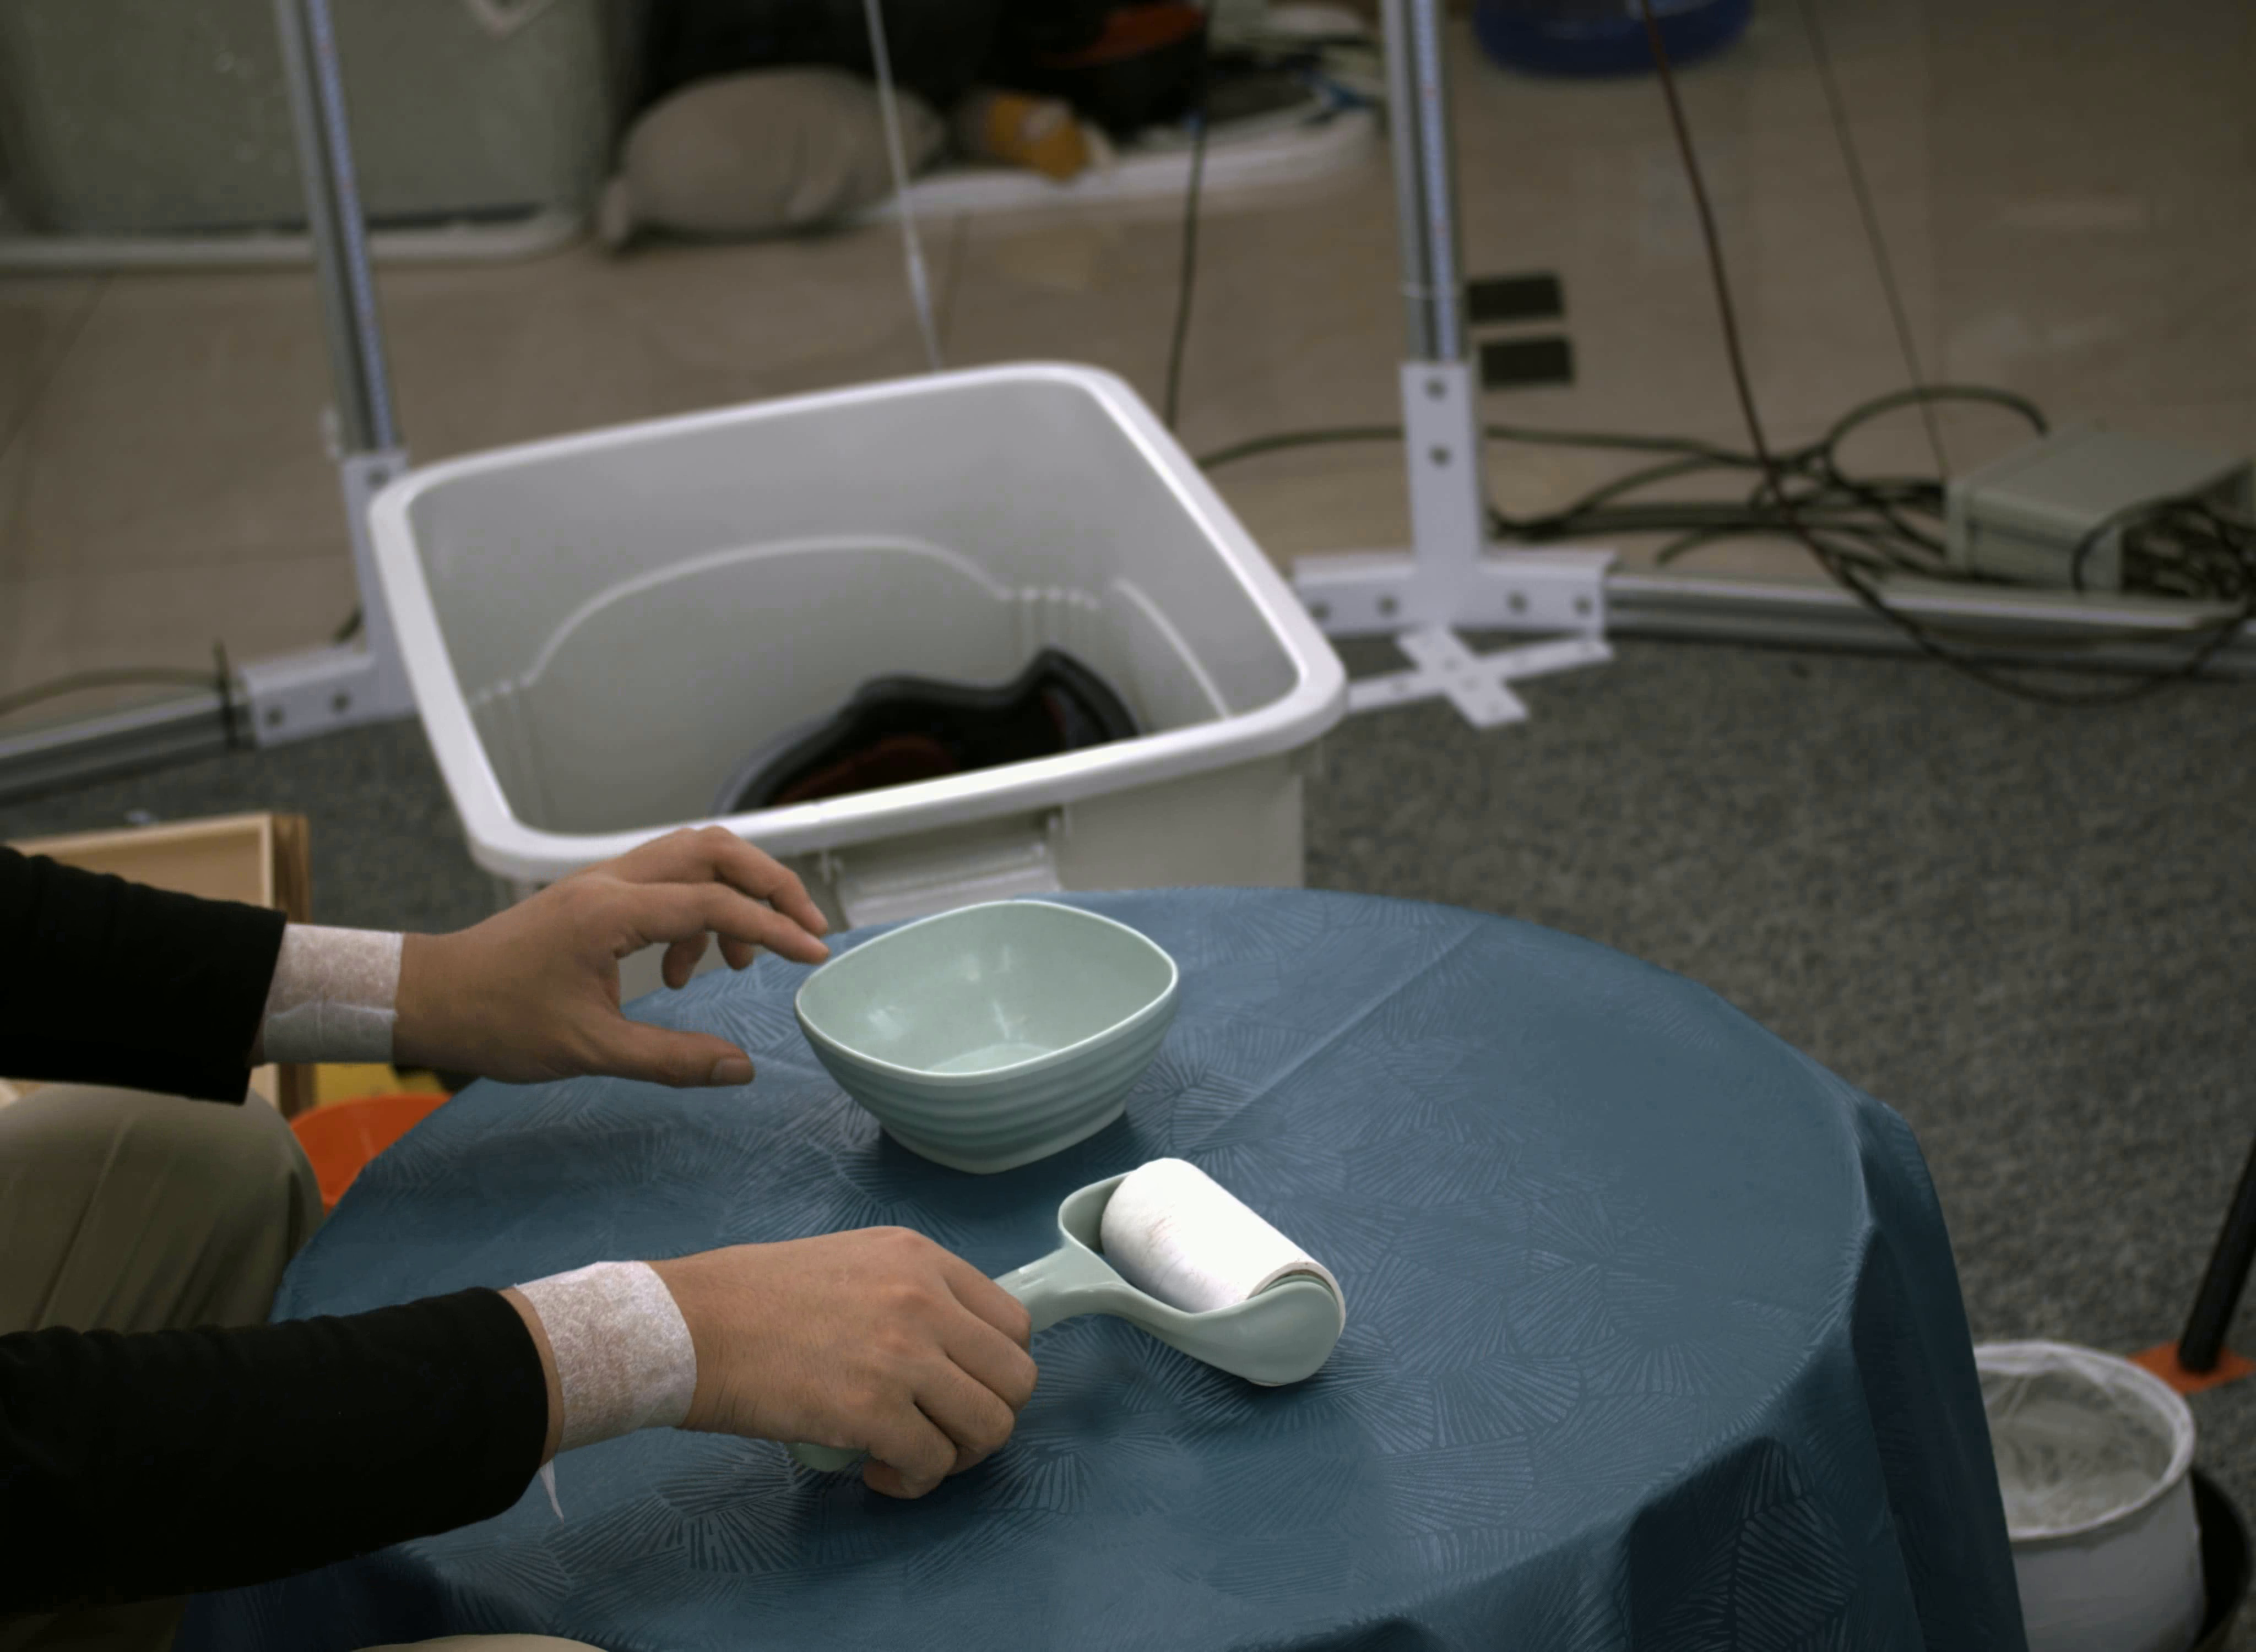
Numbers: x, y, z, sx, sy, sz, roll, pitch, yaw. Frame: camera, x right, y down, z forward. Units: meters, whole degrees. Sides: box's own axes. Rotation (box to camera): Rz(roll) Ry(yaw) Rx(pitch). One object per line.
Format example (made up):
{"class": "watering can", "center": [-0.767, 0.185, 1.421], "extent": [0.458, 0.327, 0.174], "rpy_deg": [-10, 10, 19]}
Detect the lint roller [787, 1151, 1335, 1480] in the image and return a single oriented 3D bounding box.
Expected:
{"class": "lint roller", "center": [-0.035, 0.178, 2.016], "extent": [0.196, 0.049, 0.115], "rpy_deg": [-17, 29, -23]}

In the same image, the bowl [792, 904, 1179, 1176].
{"class": "bowl", "center": [-0.053, 0.088, 2.203], "extent": [0.151, 0.059, 0.149], "rpy_deg": [-4, 25, 2]}
